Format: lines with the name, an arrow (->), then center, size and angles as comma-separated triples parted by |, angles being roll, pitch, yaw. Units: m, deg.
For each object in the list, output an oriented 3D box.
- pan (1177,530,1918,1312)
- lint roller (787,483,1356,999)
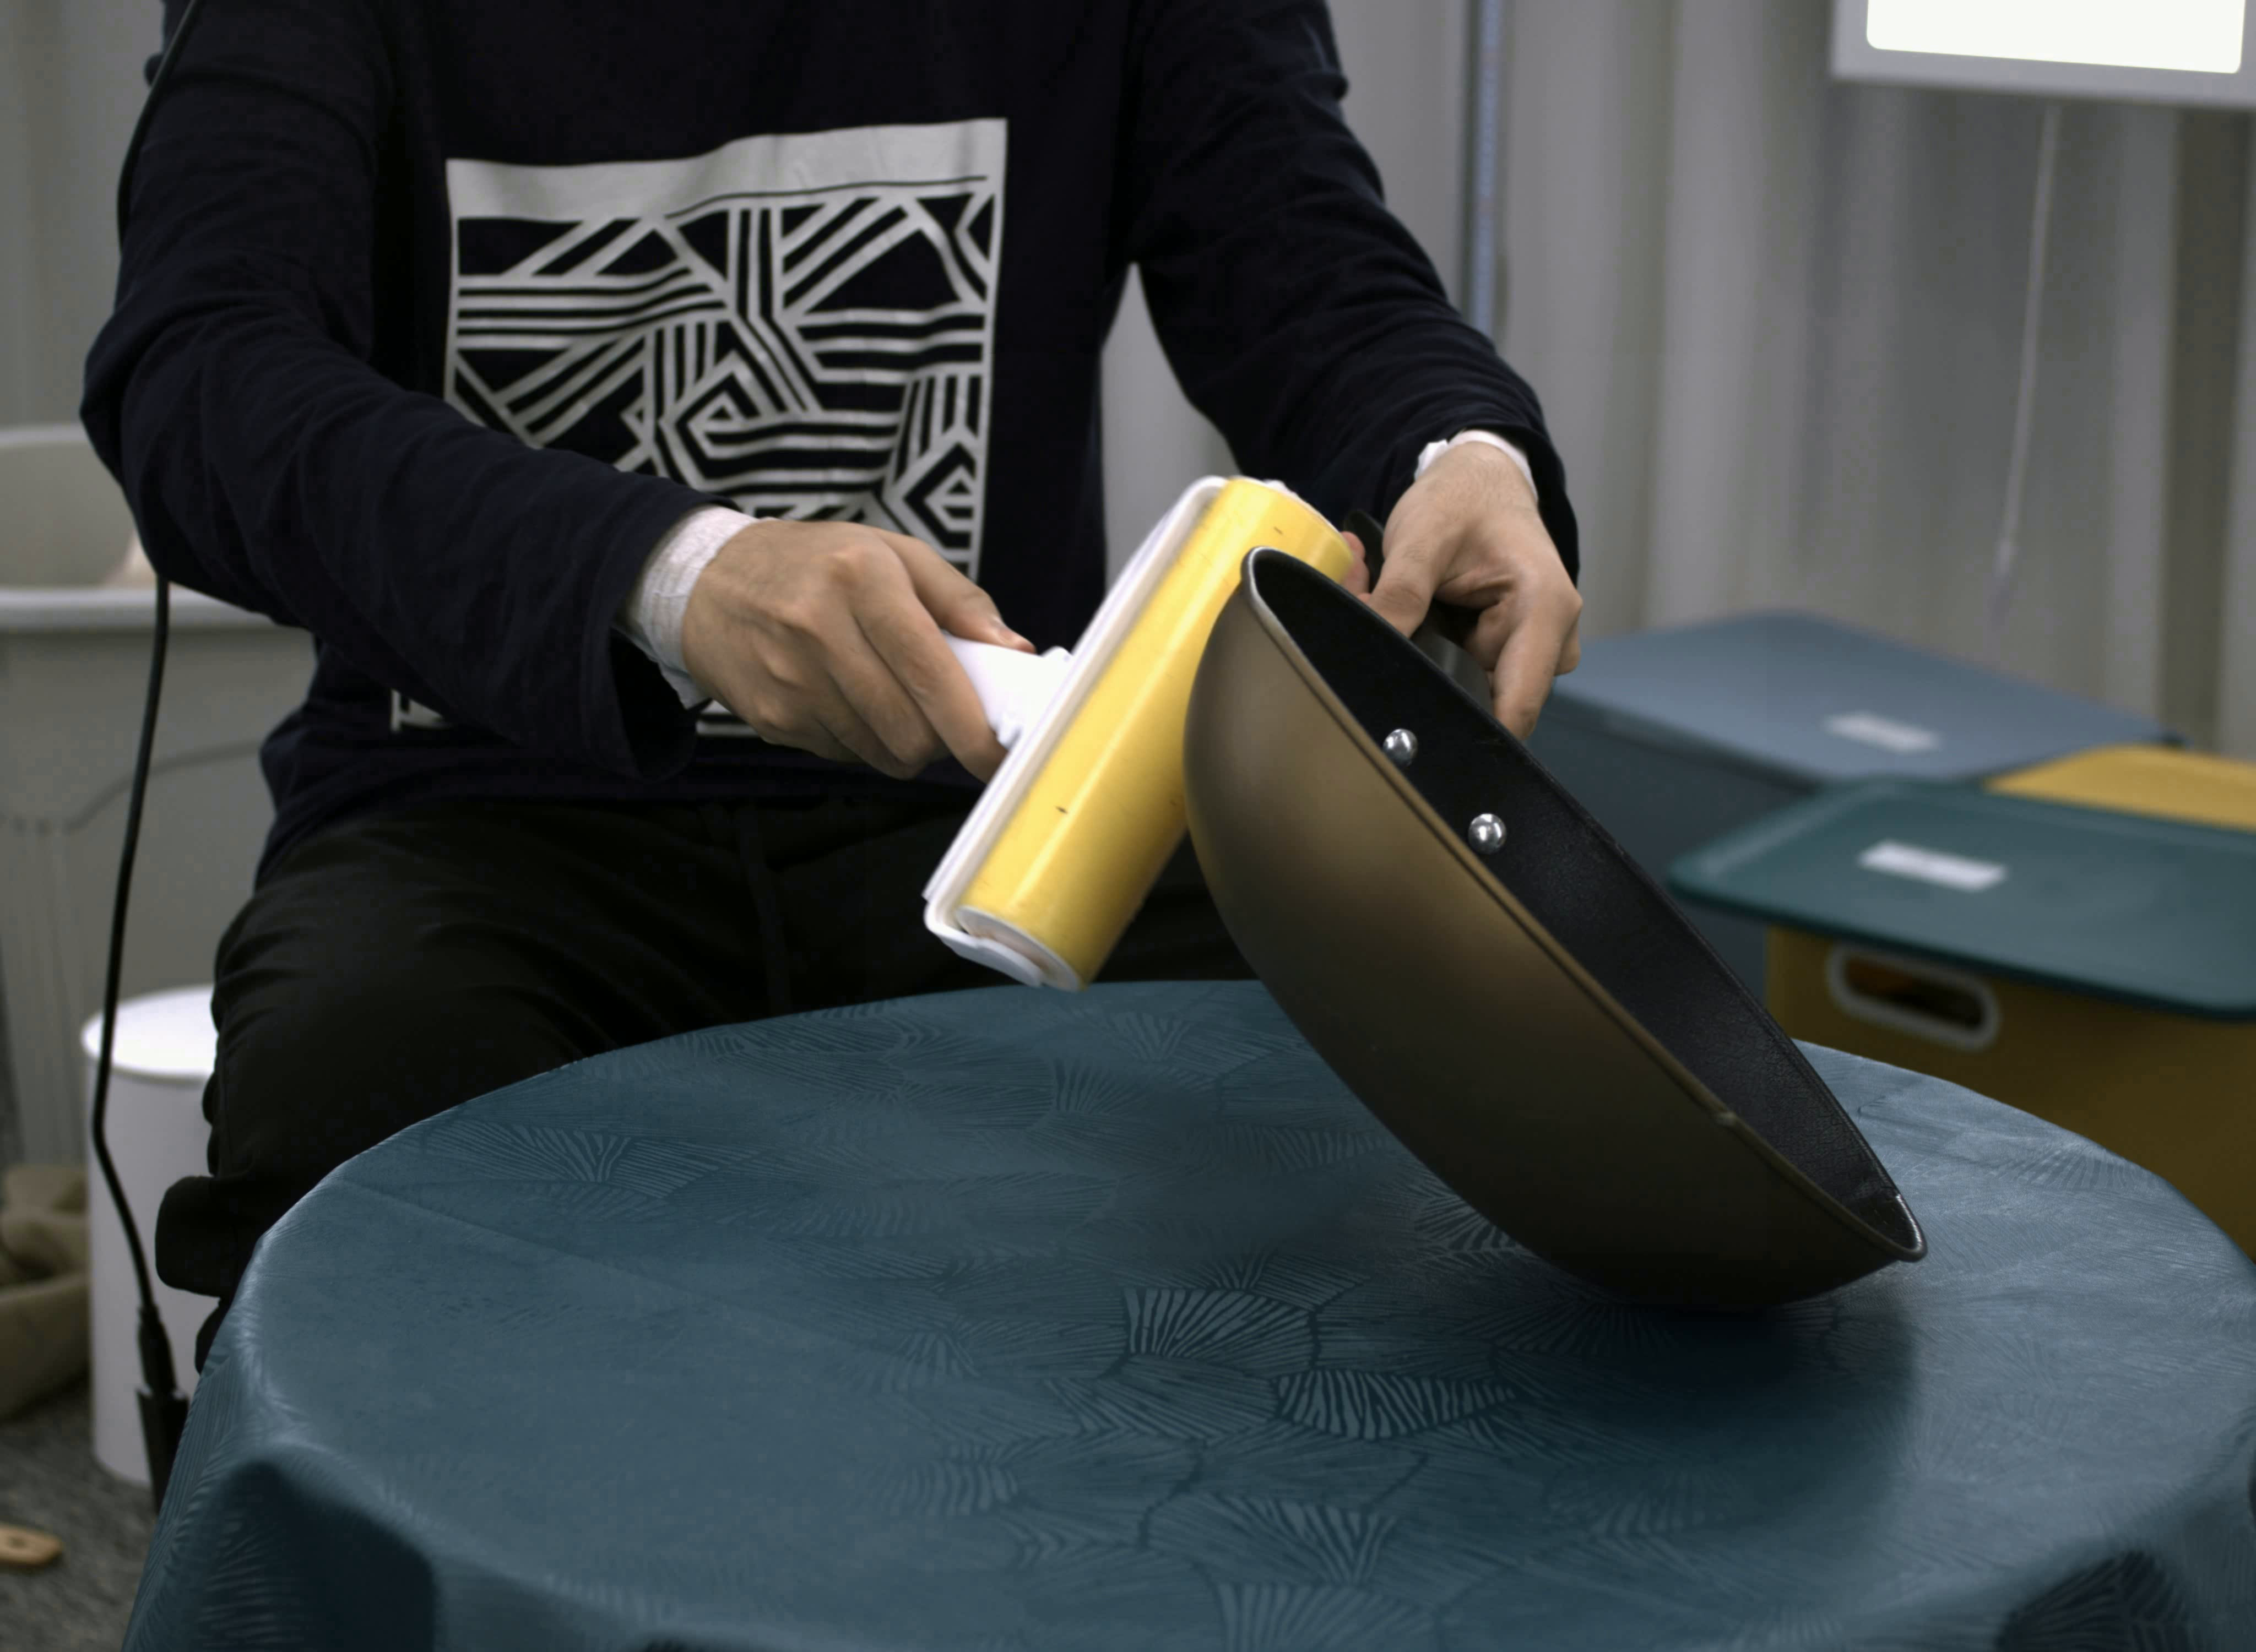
pan -> 0.092, 0.009, 1.606 | 0.087, 0.291, 0.459 | -43, 23, 9
lint roller -> -0.043, -0.044, 1.644 | 0.189, 0.174, 0.052 | 19, -19, 36
